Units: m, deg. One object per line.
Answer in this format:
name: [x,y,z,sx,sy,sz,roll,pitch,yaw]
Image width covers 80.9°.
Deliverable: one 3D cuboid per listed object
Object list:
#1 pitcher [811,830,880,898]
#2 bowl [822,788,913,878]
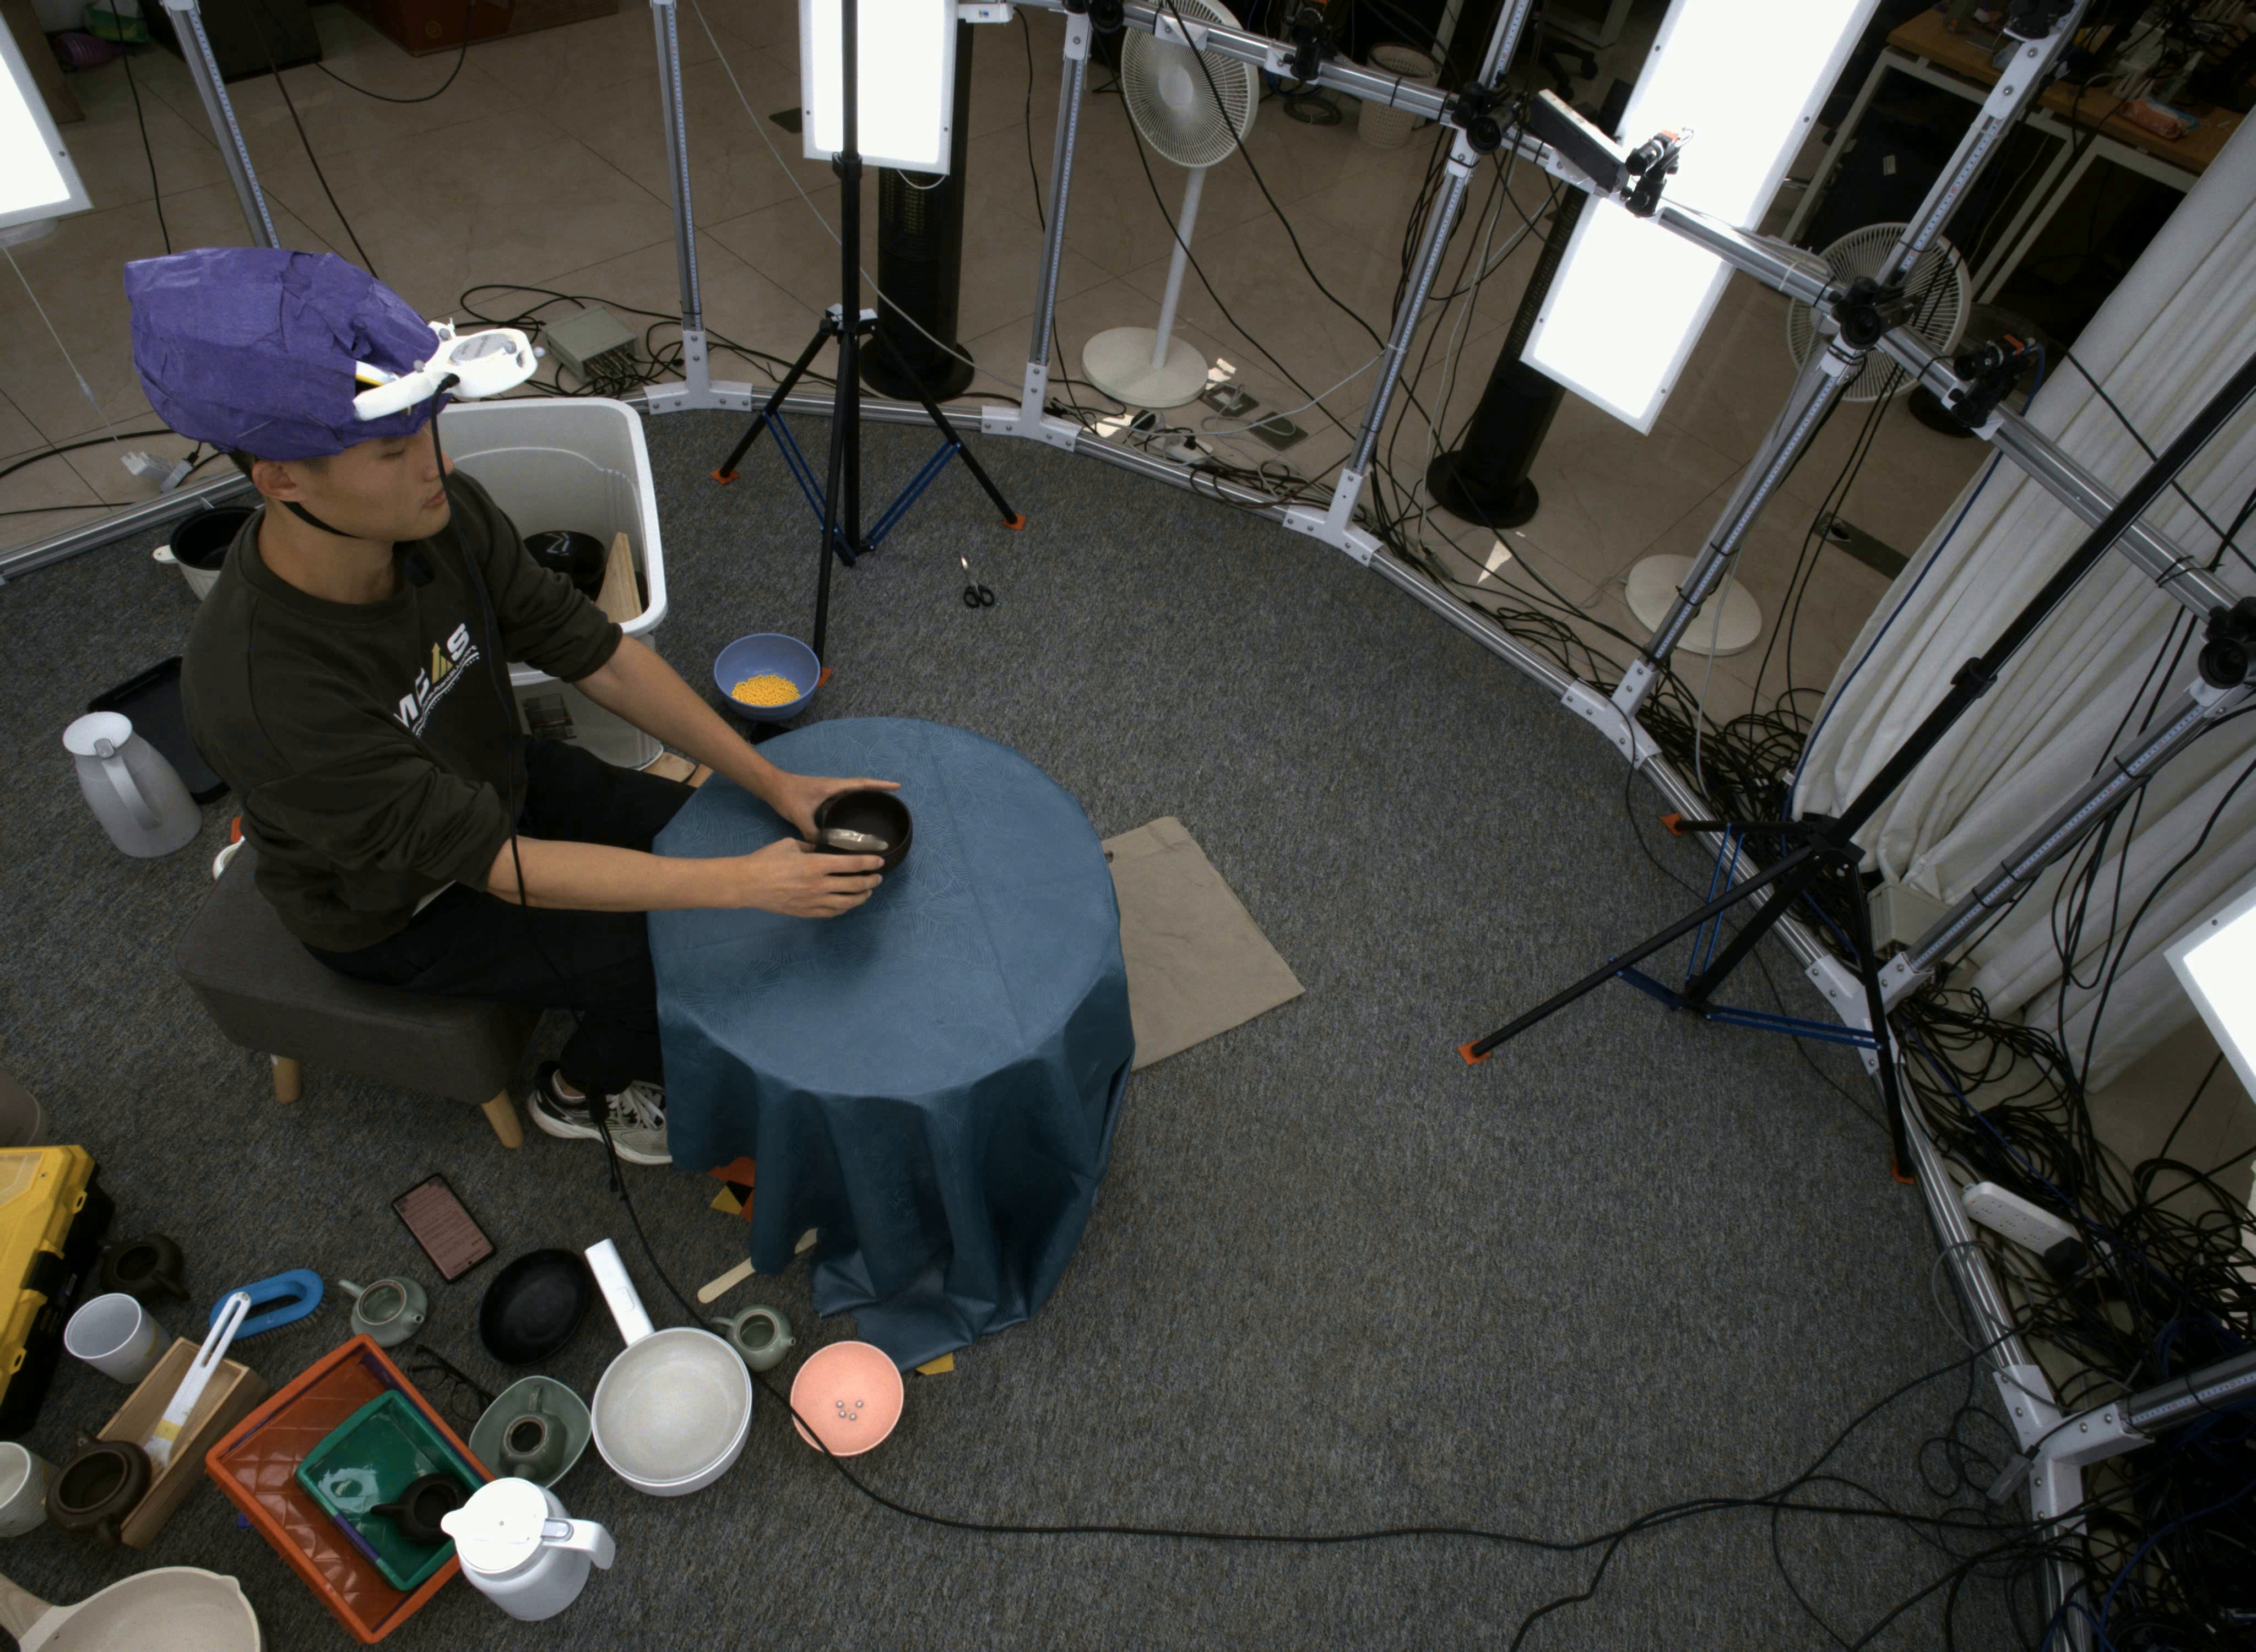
pitcher: [-0.348,0.046,1.601,0.082,0.073,0.096,11,10,10]
bowl: [-0.340,0.016,1.698,0.118,0.071,0.116,8,54,-9]
